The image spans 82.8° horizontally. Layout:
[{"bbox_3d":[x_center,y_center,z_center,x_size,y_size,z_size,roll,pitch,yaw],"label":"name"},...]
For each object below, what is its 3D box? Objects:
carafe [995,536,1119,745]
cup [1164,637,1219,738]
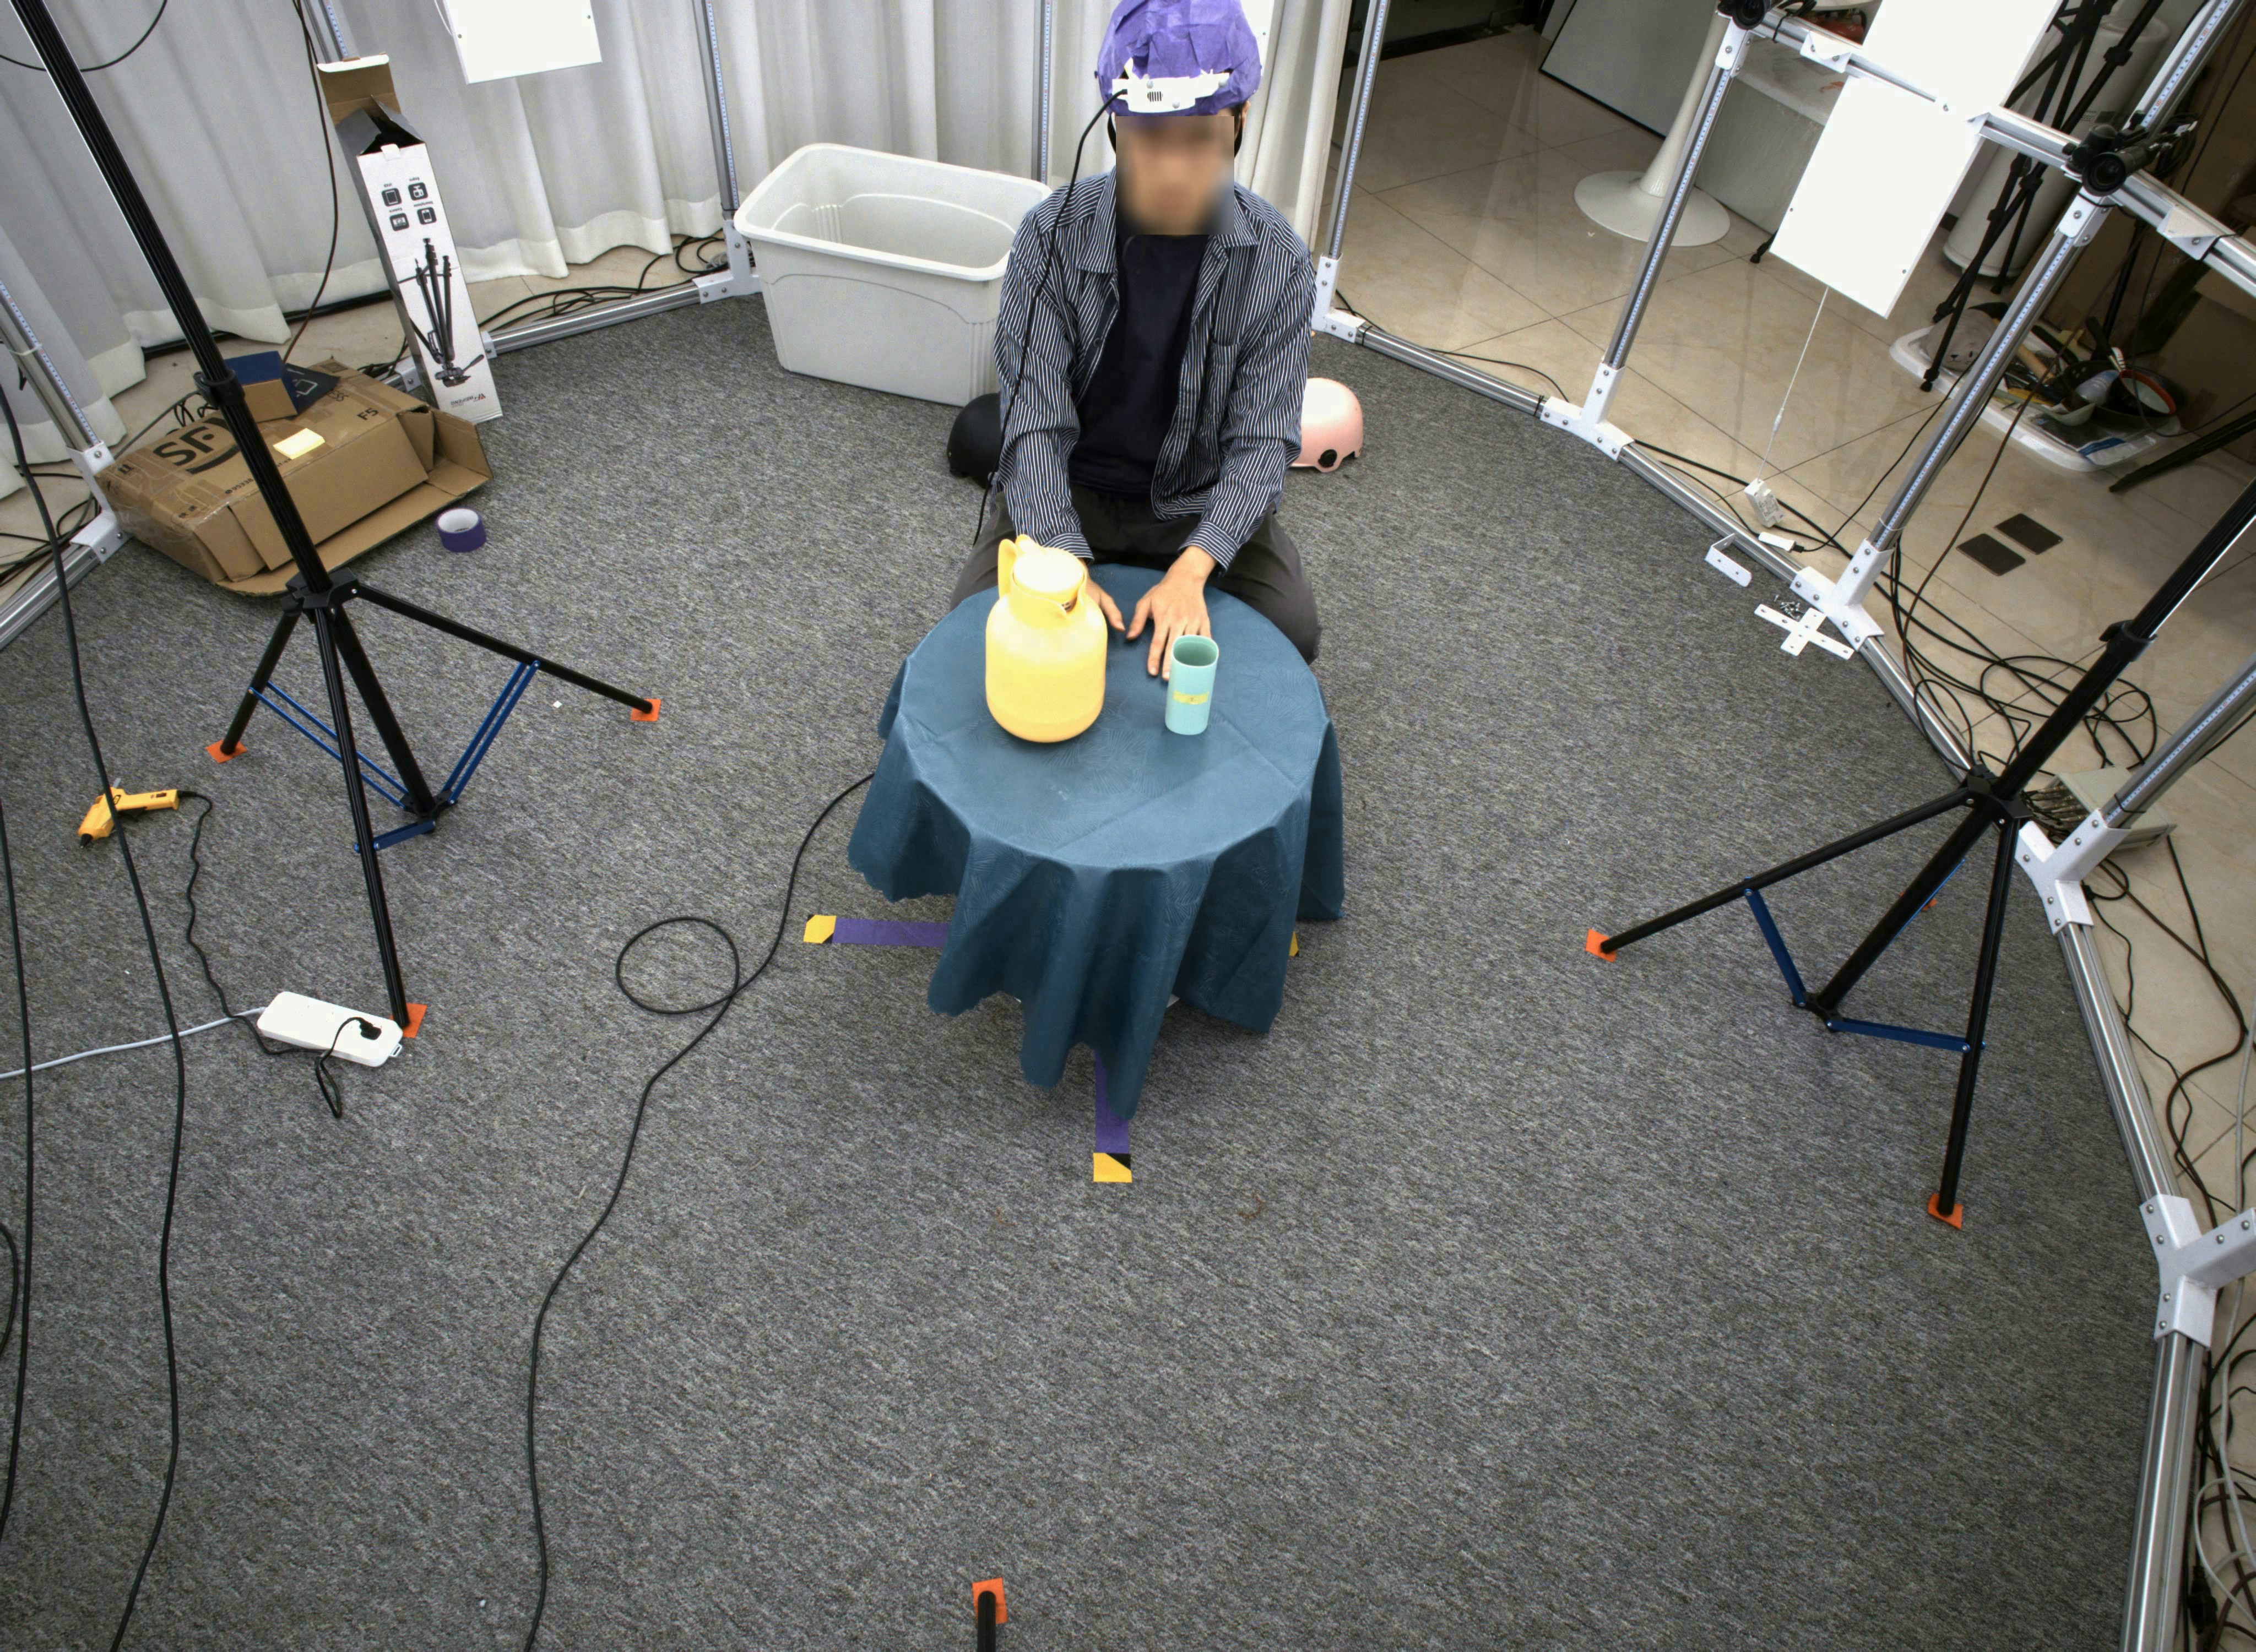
[{"bbox_3d":[-0.102,-0.254,1.703,0.164,0.254,0.206,-22,54,-24],"label":"carafe"},{"bbox_3d":[0.086,-0.189,1.751,0.066,0.129,0.068,2,48,-3],"label":"cup"}]
